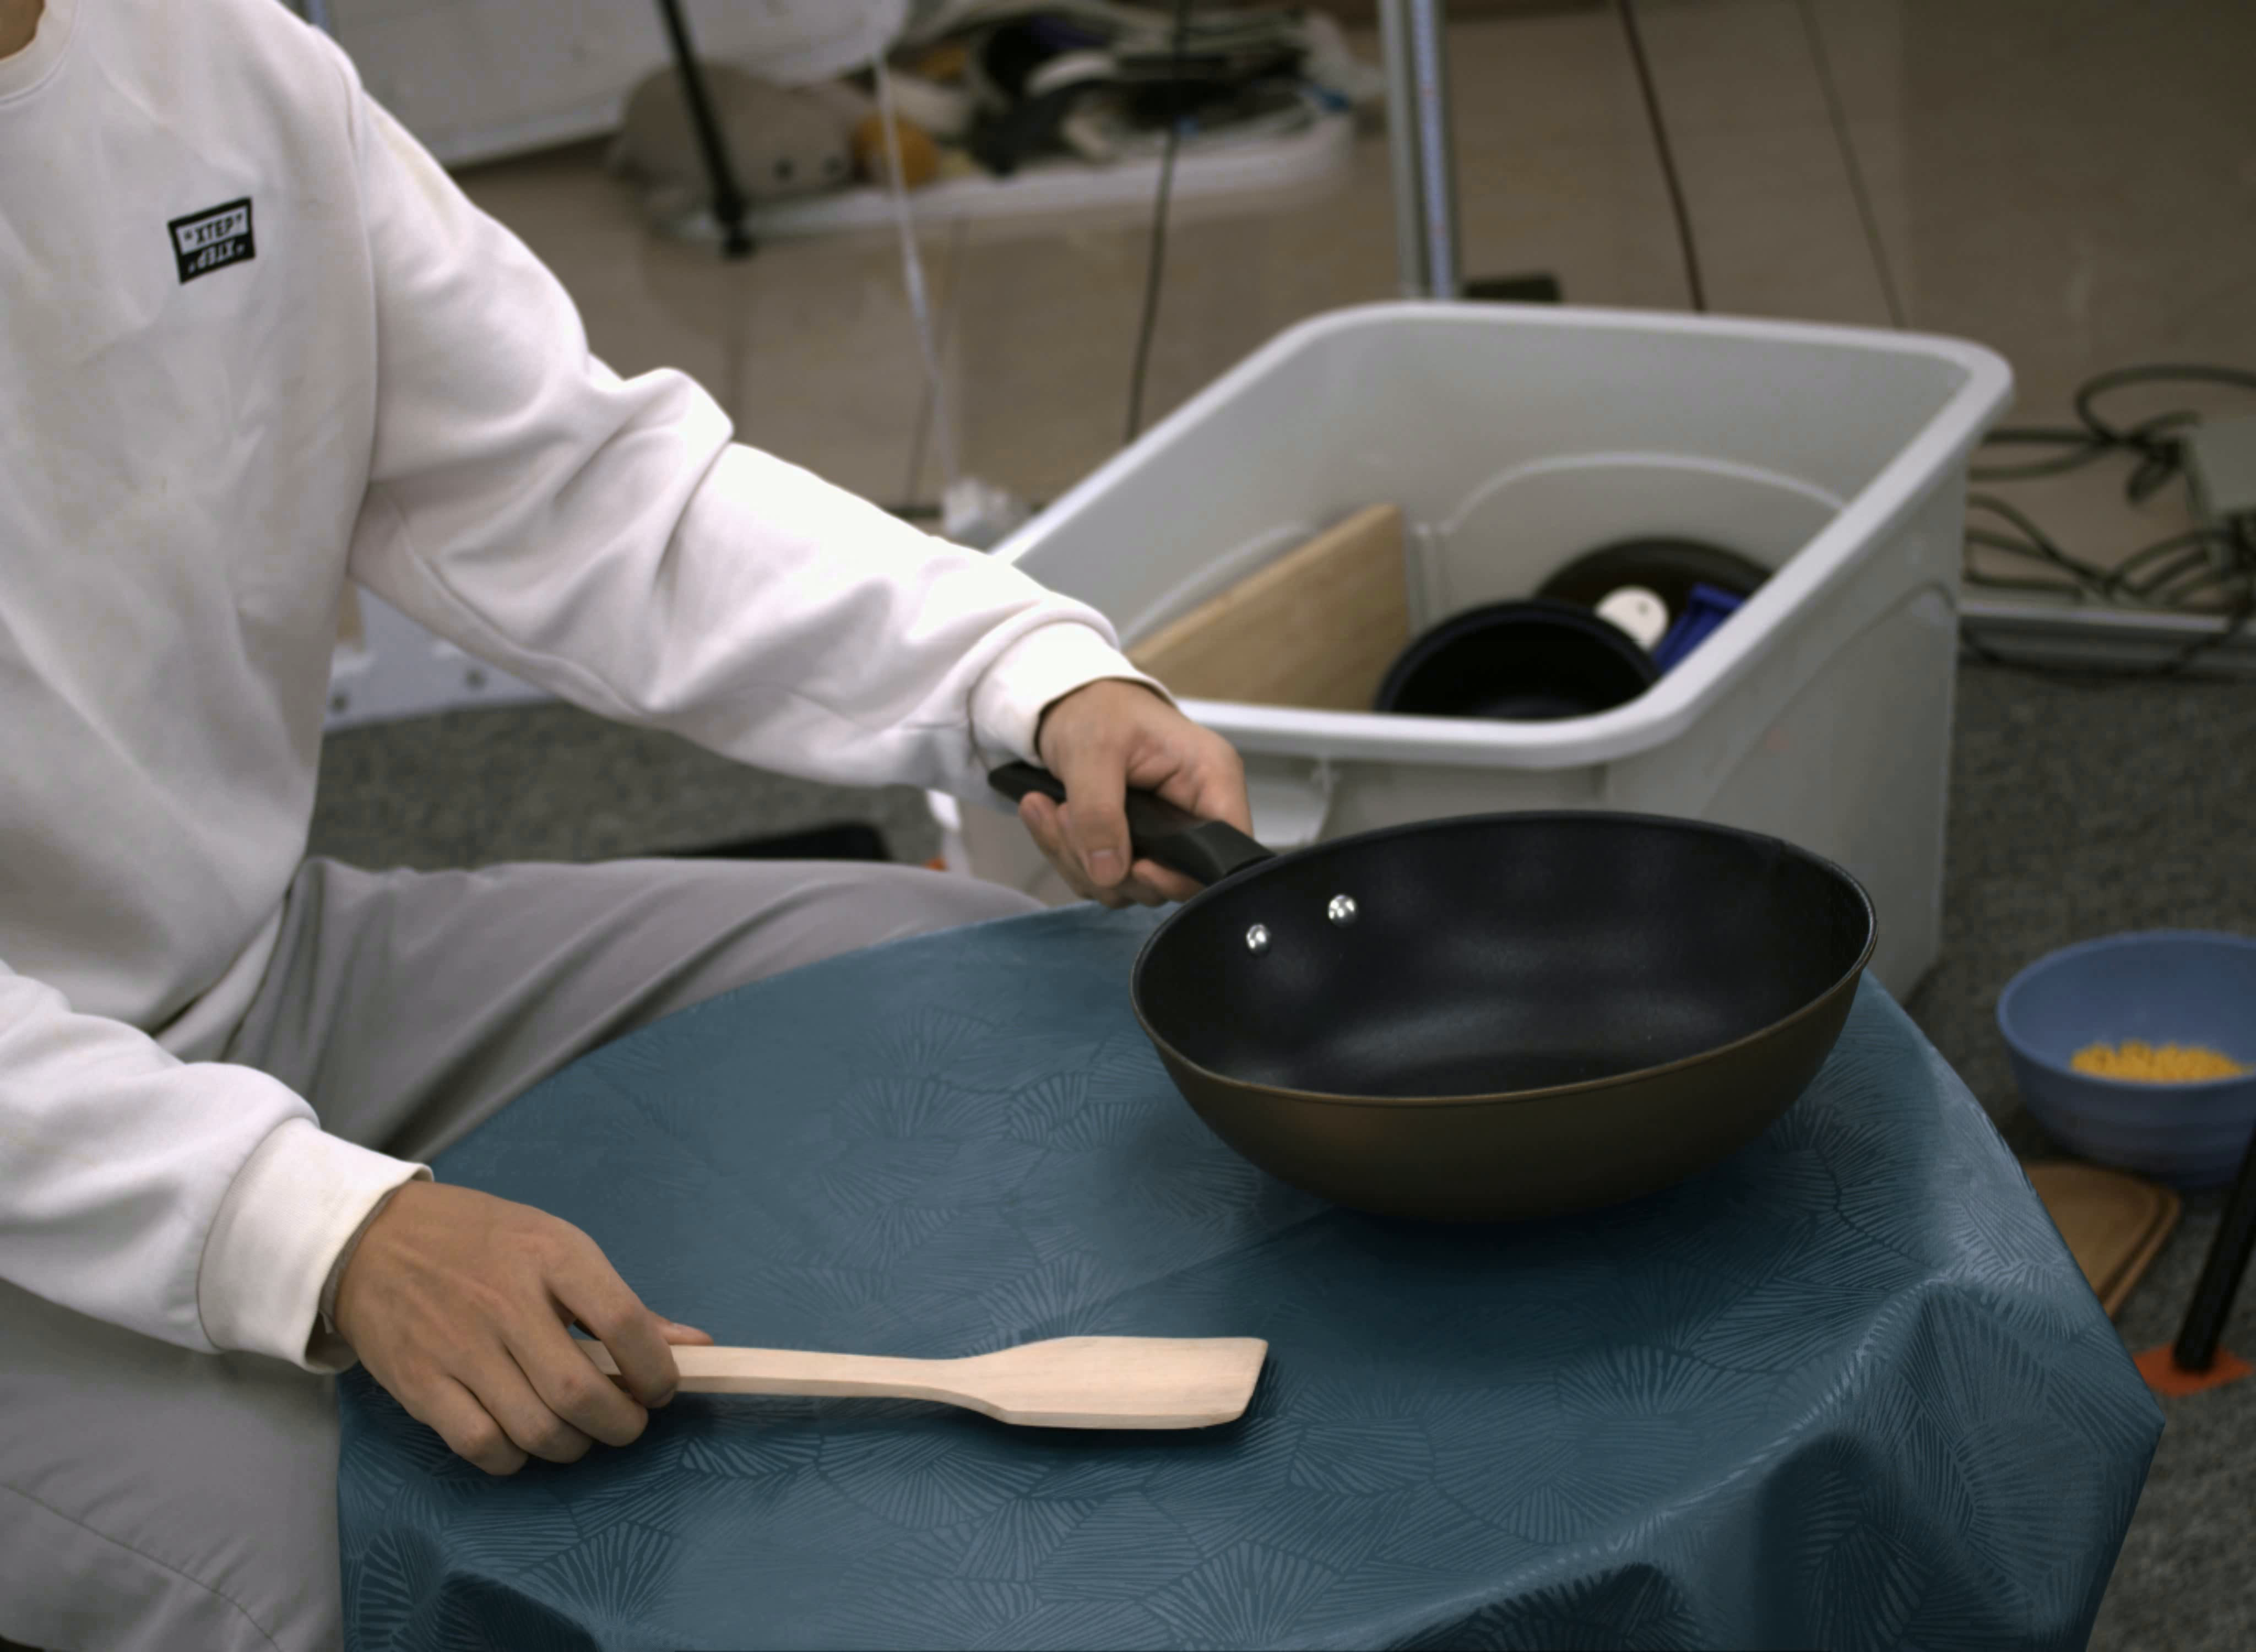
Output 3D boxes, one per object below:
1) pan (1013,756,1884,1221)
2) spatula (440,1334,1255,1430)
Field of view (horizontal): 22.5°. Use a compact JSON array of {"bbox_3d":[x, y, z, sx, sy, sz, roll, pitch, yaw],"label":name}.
[{"bbox_3d":[0.090,0.059,2.196,0.286,0.088,0.459,-19,24,-32],"label":"pan"},{"bbox_3d":[-0.103,0.194,2.018,0.292,0.011,0.071,1,19,9],"label":"spatula"}]
